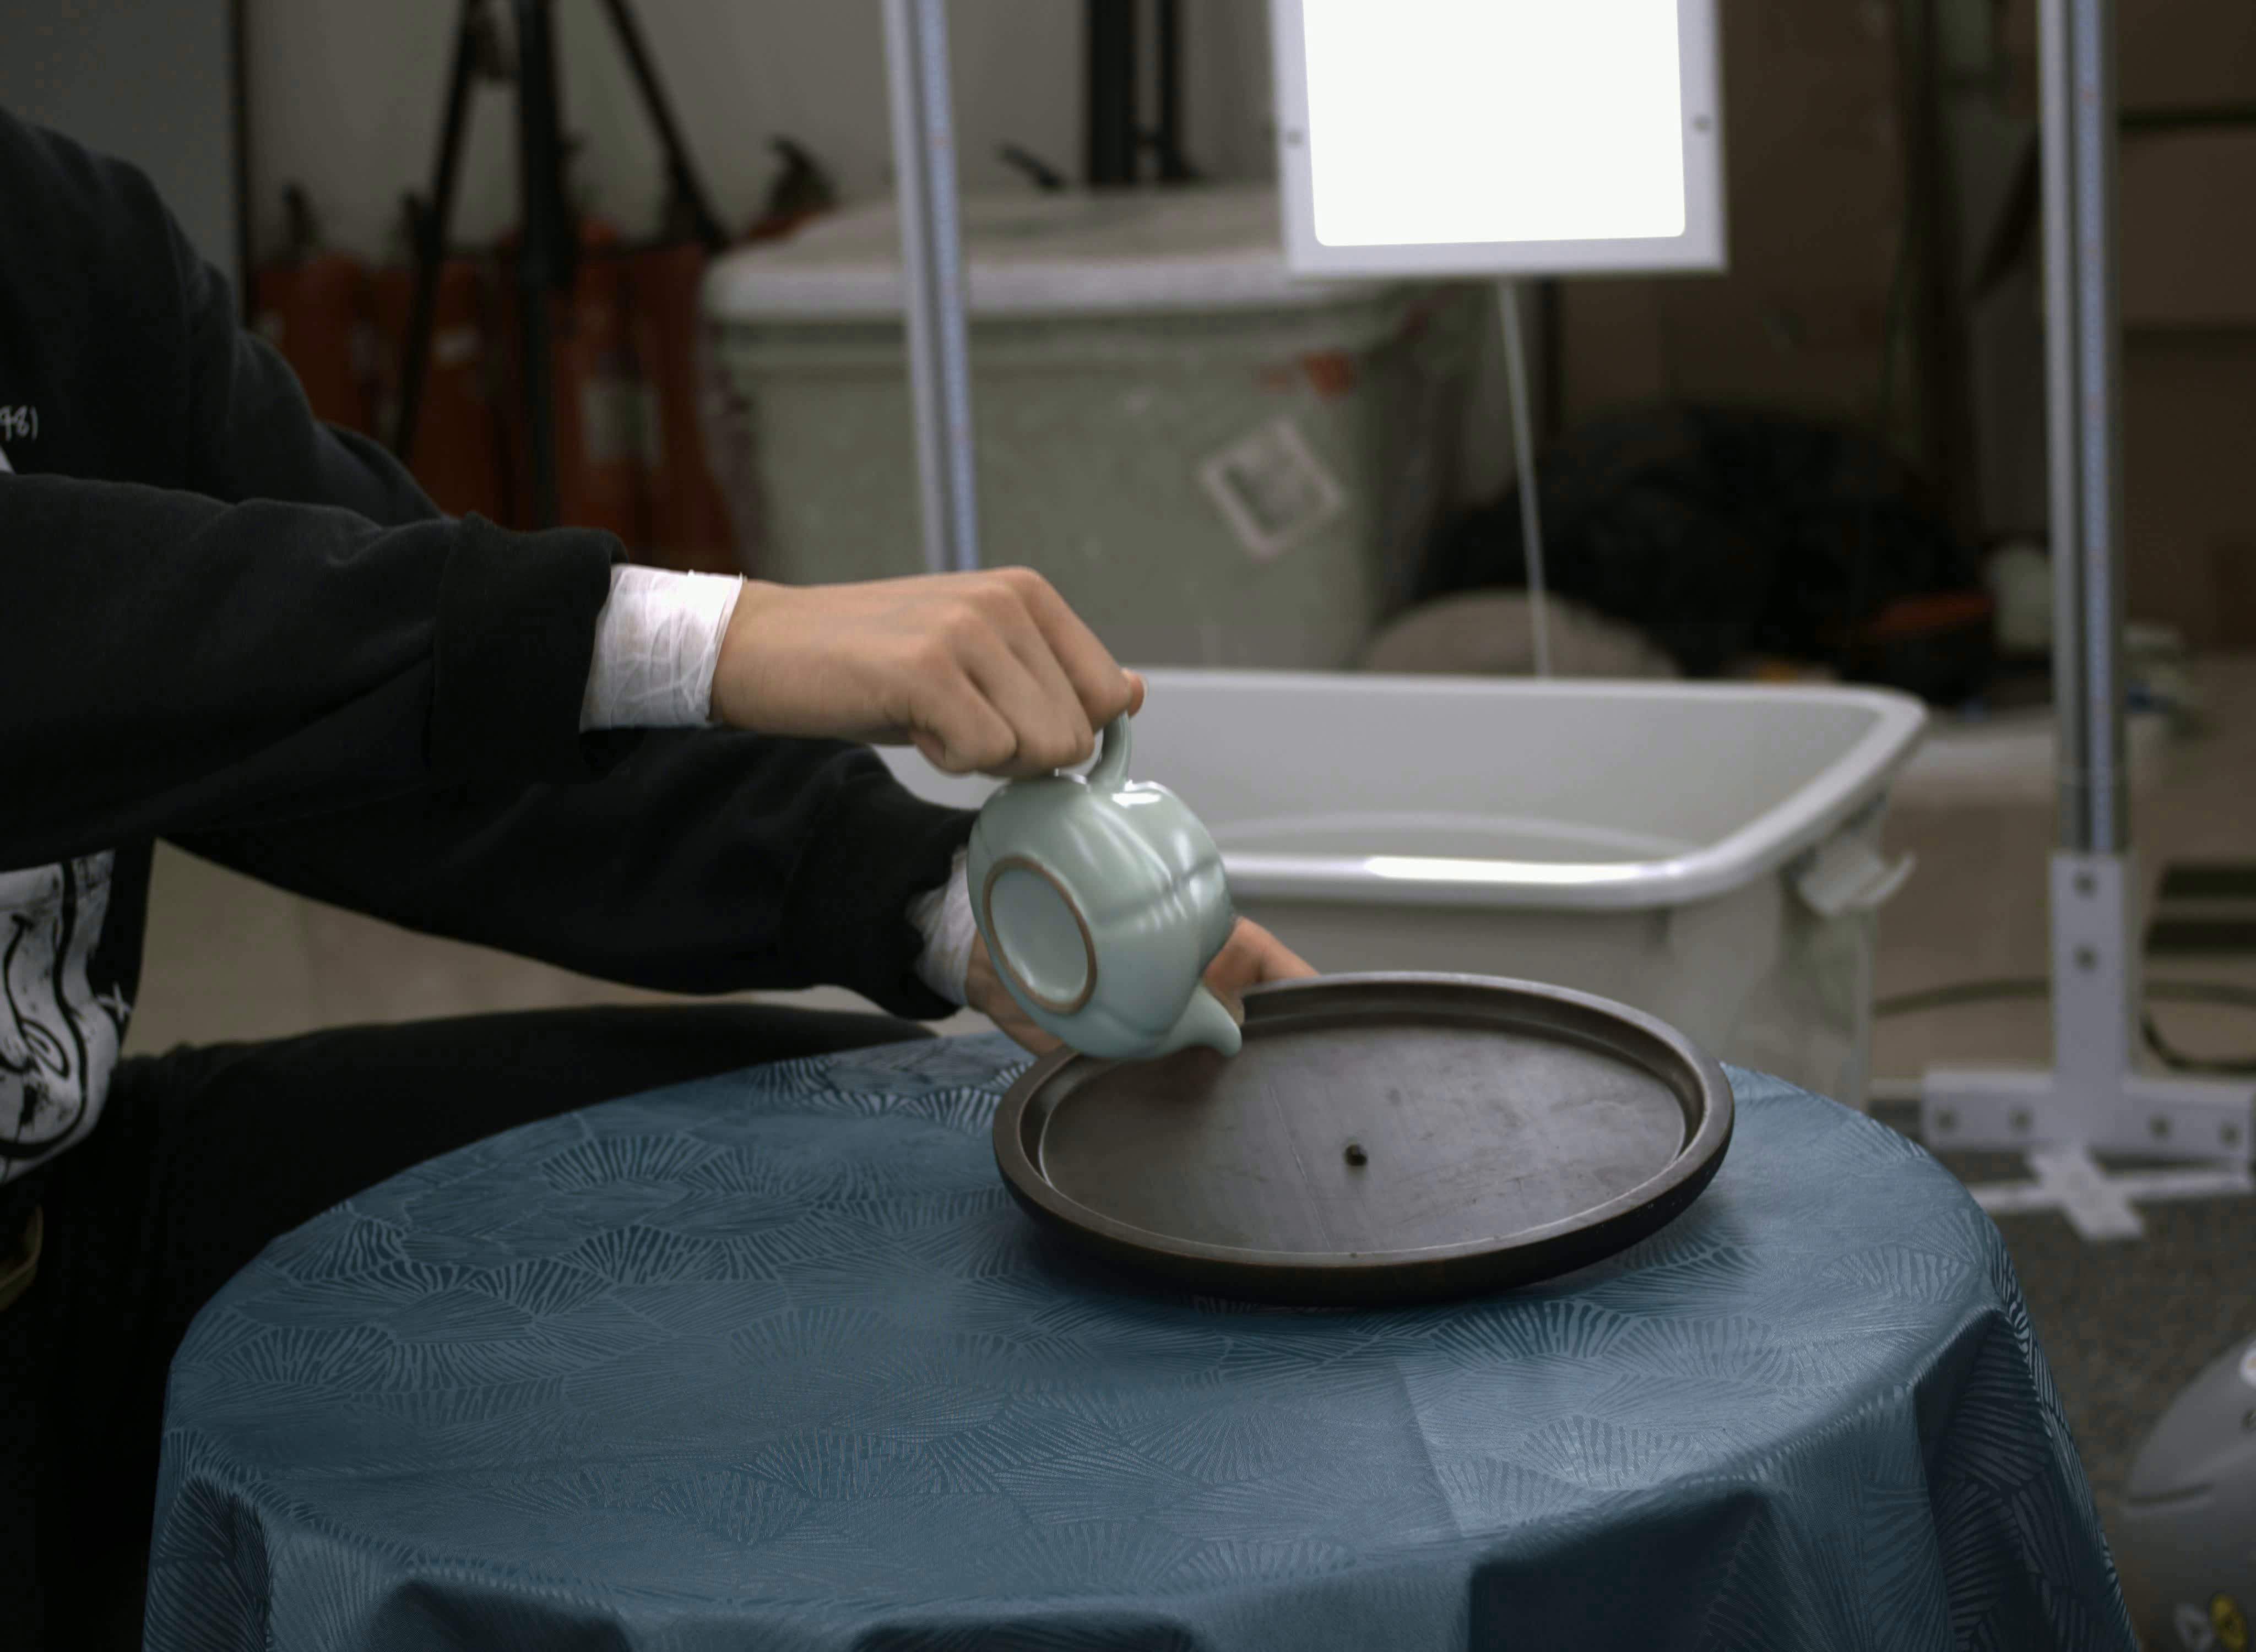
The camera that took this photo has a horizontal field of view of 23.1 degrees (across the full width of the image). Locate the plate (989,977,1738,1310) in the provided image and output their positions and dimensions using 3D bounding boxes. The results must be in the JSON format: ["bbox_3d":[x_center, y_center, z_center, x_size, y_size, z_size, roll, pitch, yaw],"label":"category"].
[{"bbox_3d":[0.080,0.104,1.859,0.254,0.029,0.254,-4,21,0],"label":"plate"}]

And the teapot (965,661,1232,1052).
[{"bbox_3d":[-0.009,0.017,1.743,0.060,0.137,0.098,-24,11,-32],"label":"teapot"}]
